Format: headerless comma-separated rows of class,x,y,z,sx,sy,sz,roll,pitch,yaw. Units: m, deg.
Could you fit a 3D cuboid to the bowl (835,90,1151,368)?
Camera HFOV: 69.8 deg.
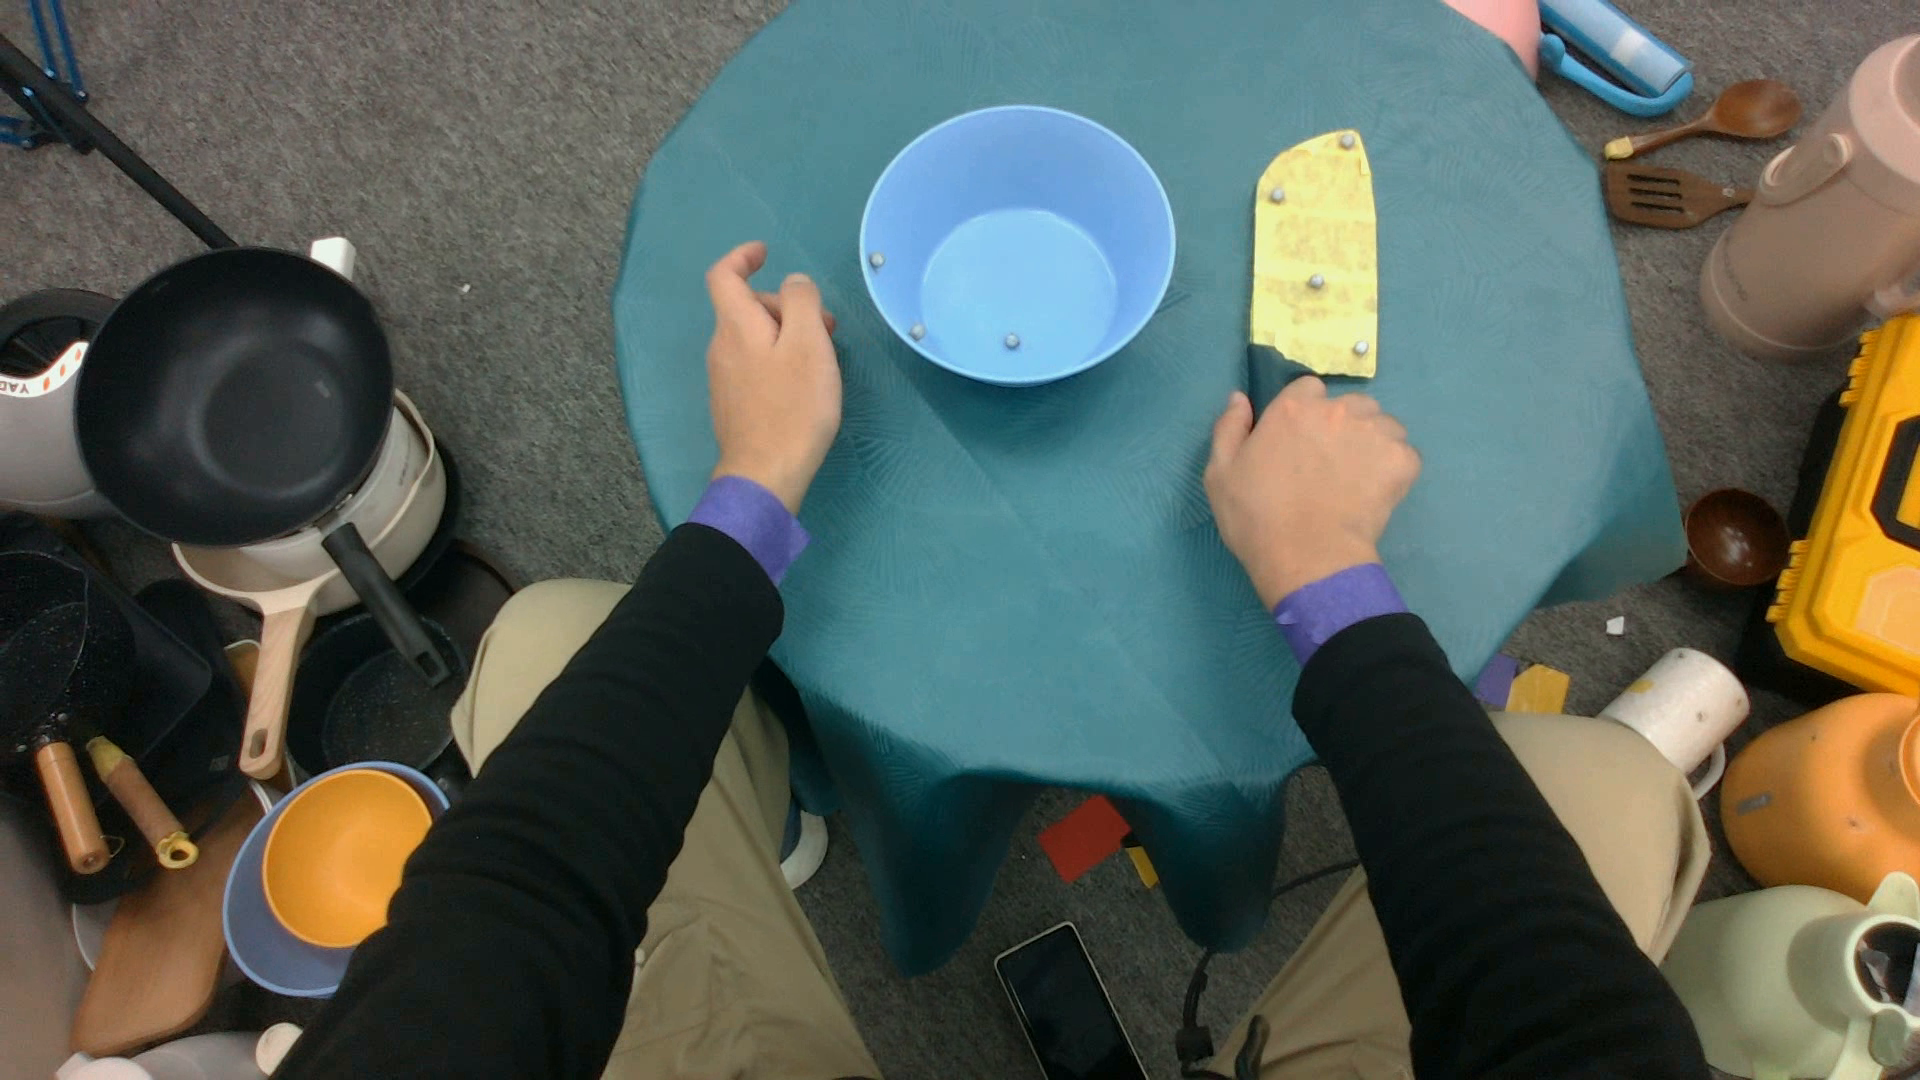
bowl,0.019,-0.167,0.795,0.176,0.070,0.176,0,70,1

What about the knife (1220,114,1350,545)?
knife,0.188,-0.131,0.806,0.081,0.027,0.290,8,70,3
